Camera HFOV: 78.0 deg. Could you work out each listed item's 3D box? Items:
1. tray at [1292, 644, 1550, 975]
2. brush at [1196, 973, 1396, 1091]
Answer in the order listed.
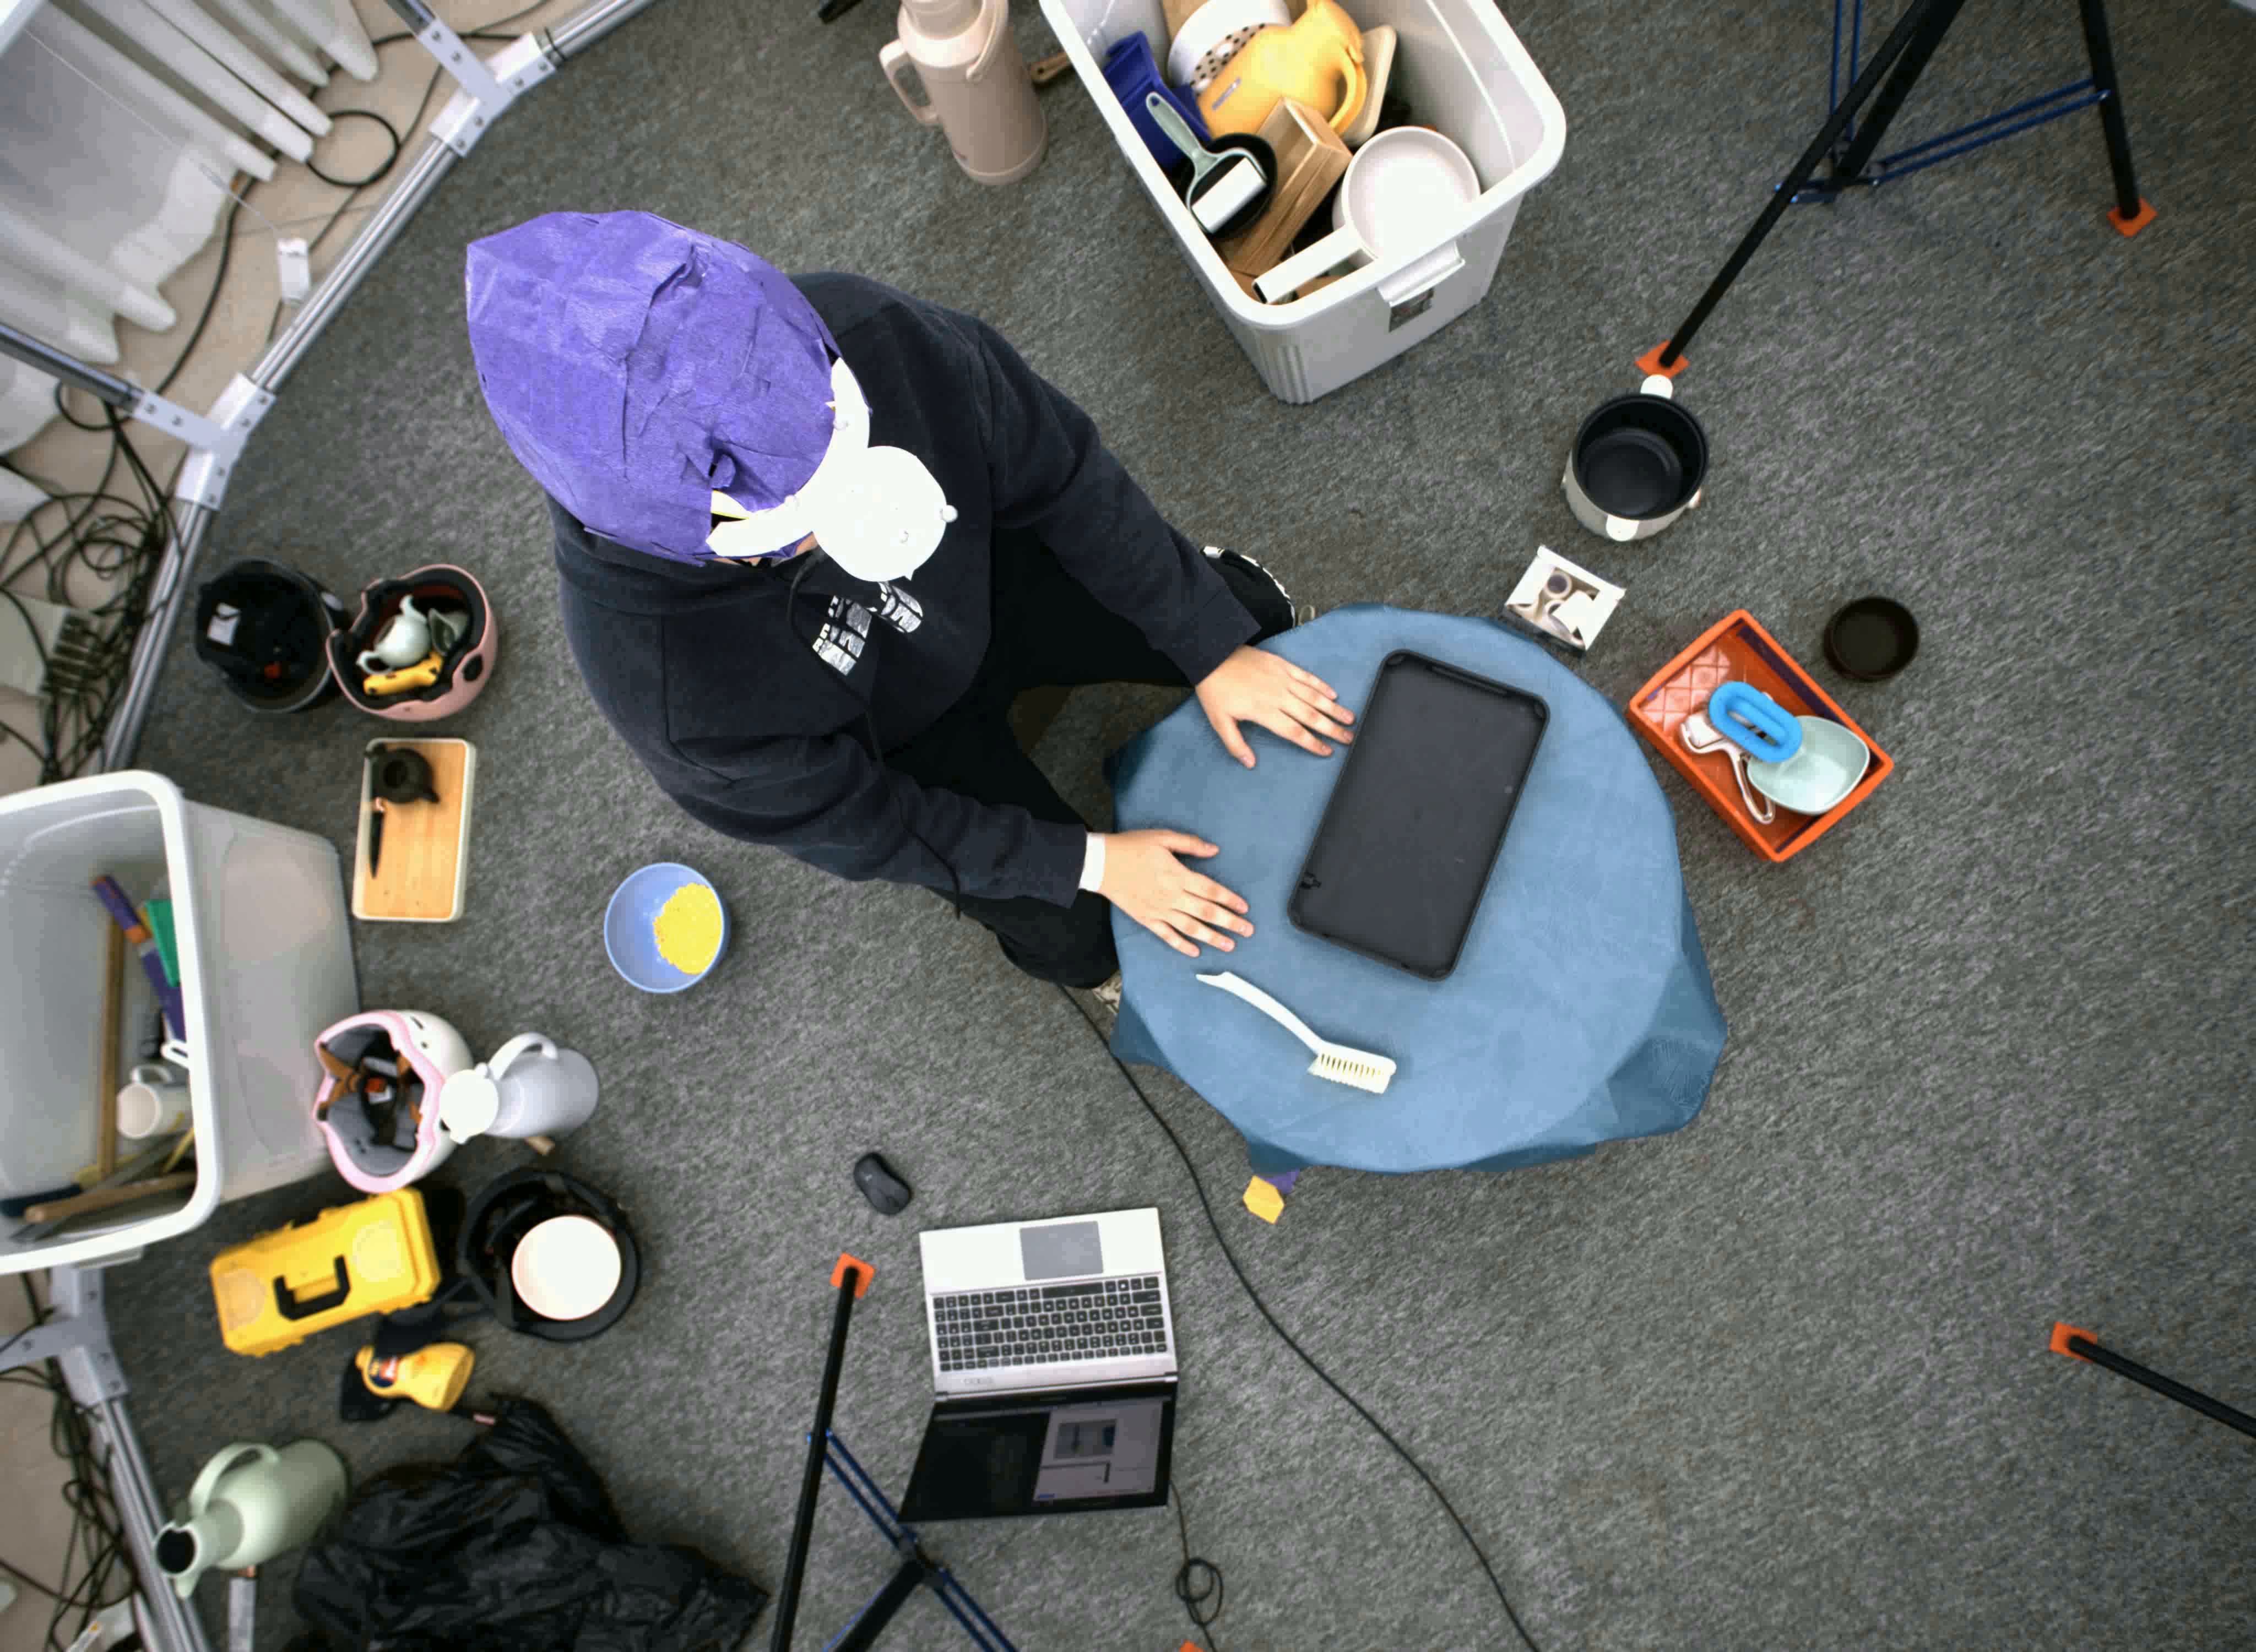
[{"bbox_3d":[0.306,-0.019,1.441,0.184,0.037,0.318,20,91,12],"label":"tray"},{"bbox_3d":[0.170,0.214,1.453,0.228,0.038,0.049,28,80,12],"label":"brush"}]
